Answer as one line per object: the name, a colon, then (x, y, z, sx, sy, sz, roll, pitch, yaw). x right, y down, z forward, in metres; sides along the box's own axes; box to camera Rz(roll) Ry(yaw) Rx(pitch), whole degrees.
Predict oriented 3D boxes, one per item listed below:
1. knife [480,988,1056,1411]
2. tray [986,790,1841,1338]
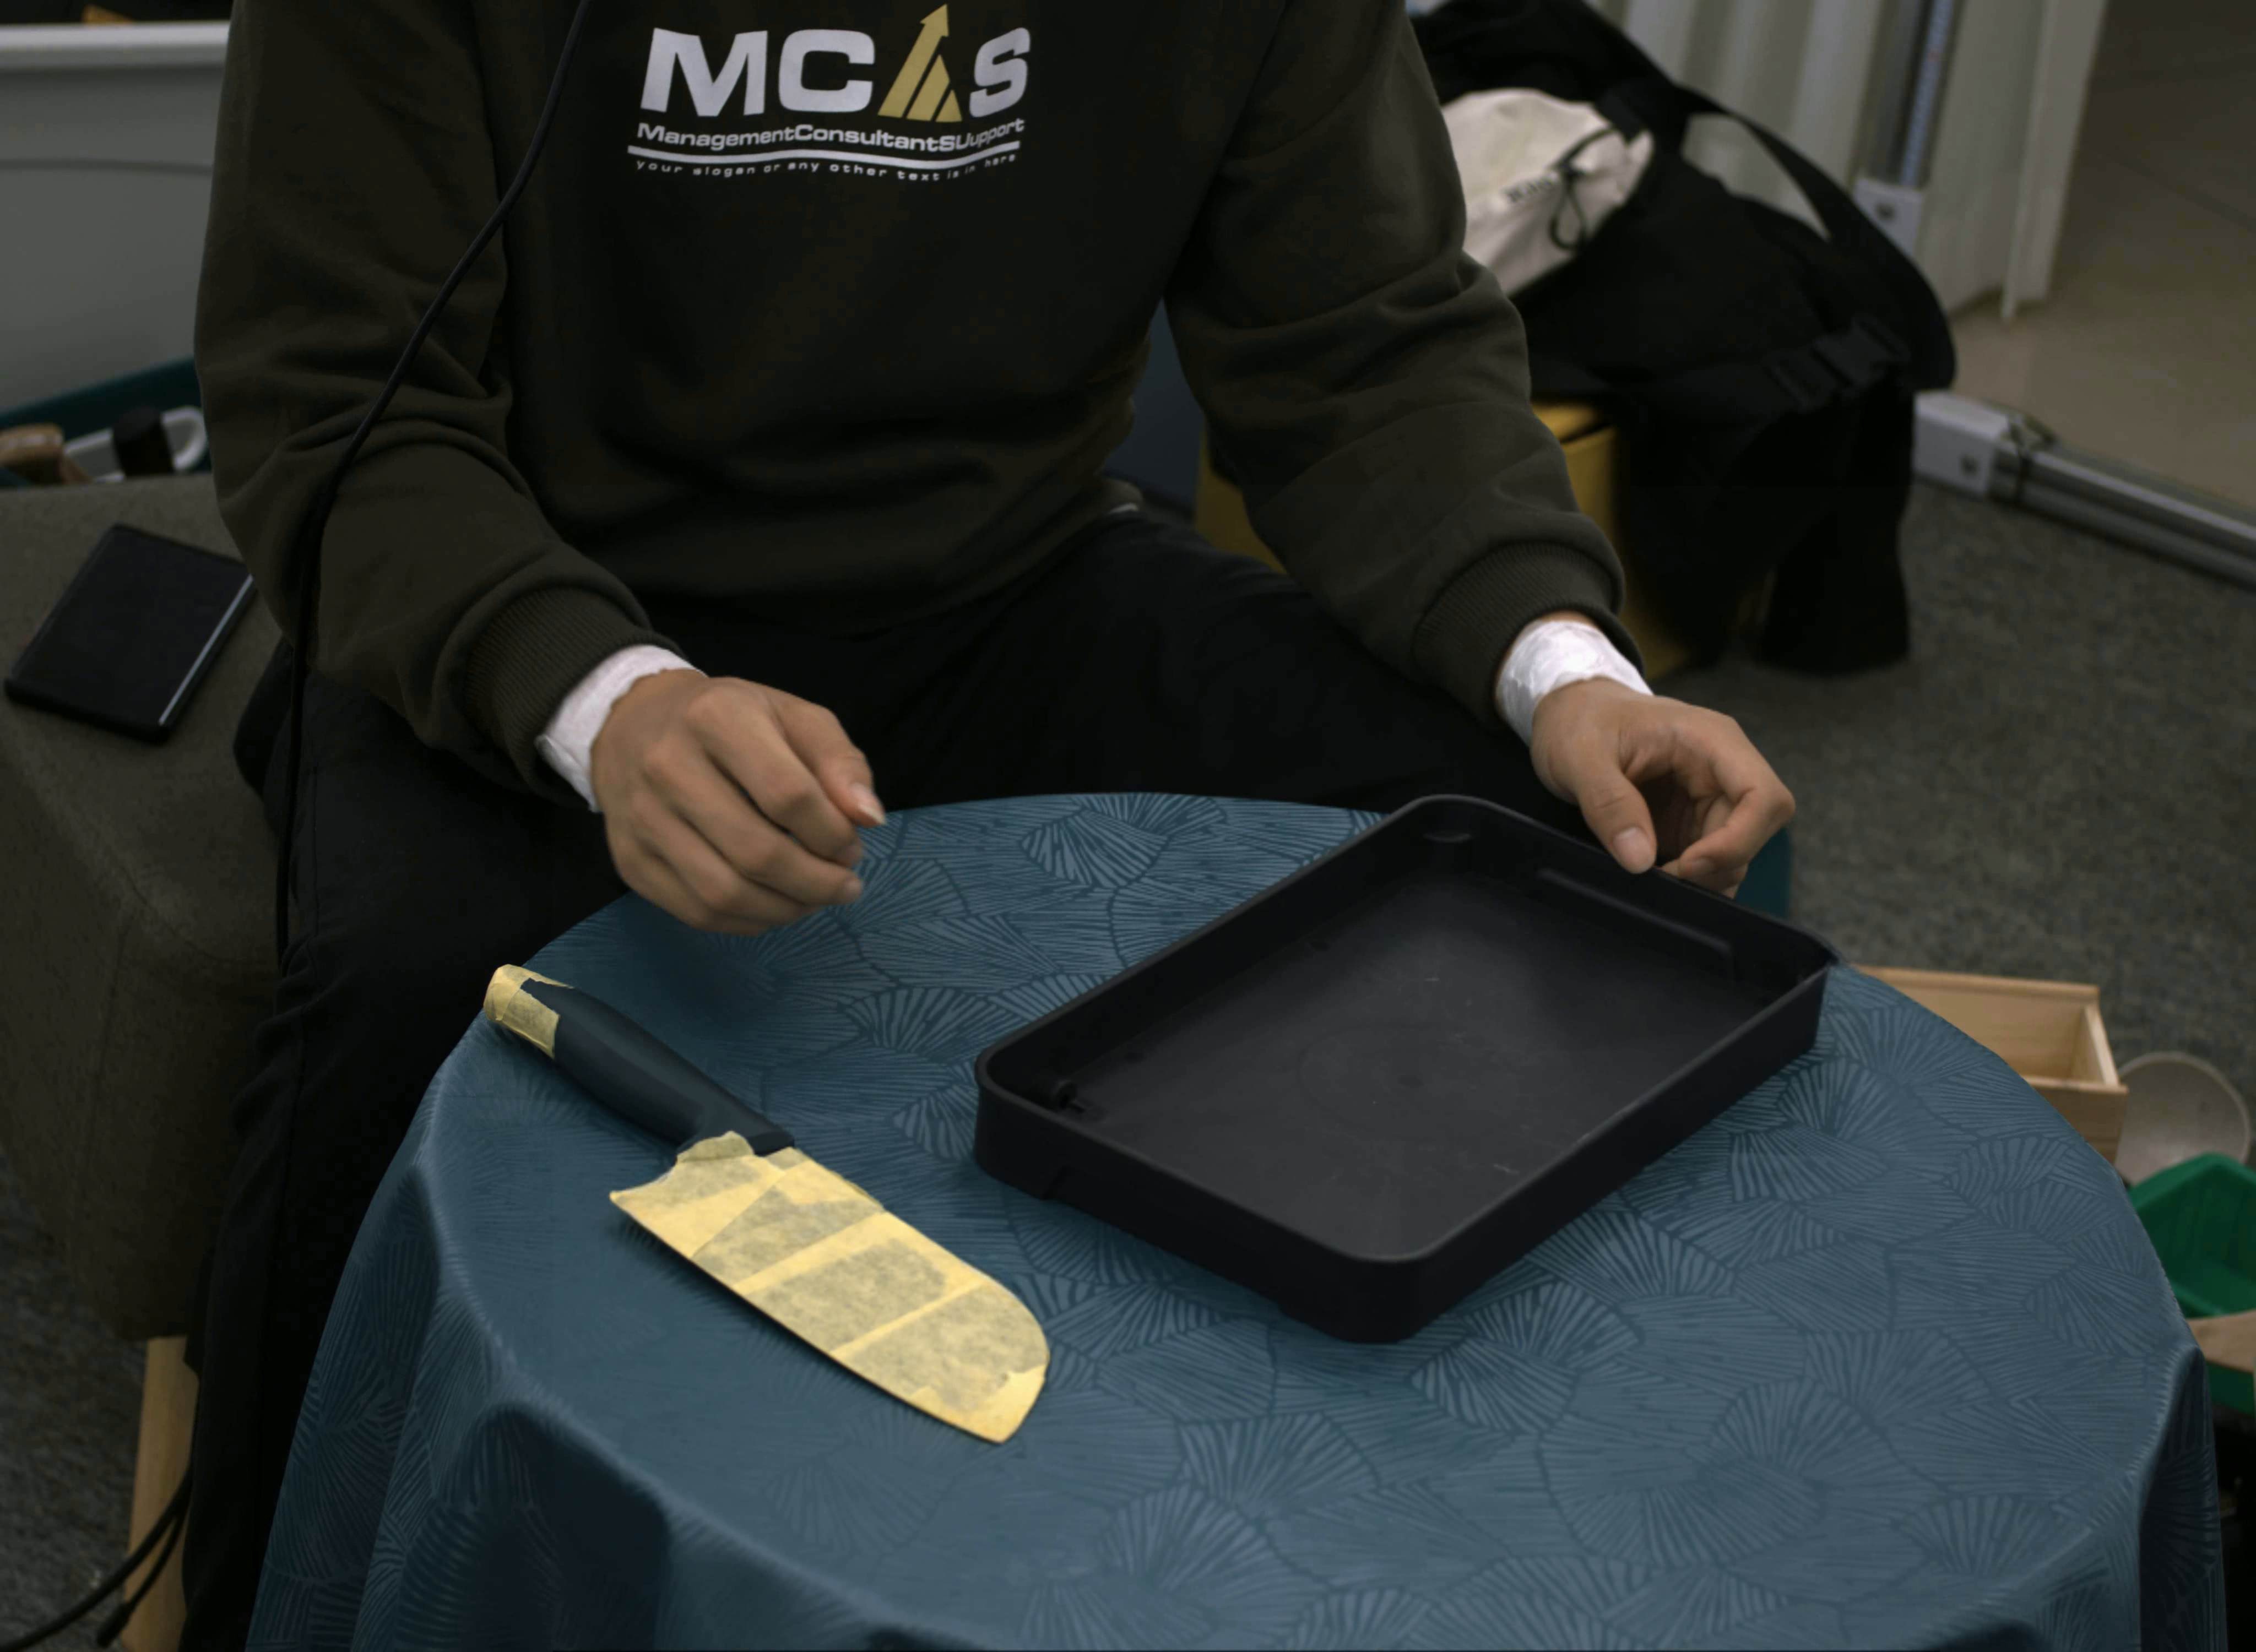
knife: (-0.129, 0.124, 1.760, 0.080, 0.027, 0.292, -17, 36, -41)
tray: (0.105, 0.077, 1.882, 0.185, 0.037, 0.317, 21, 30, 28)
